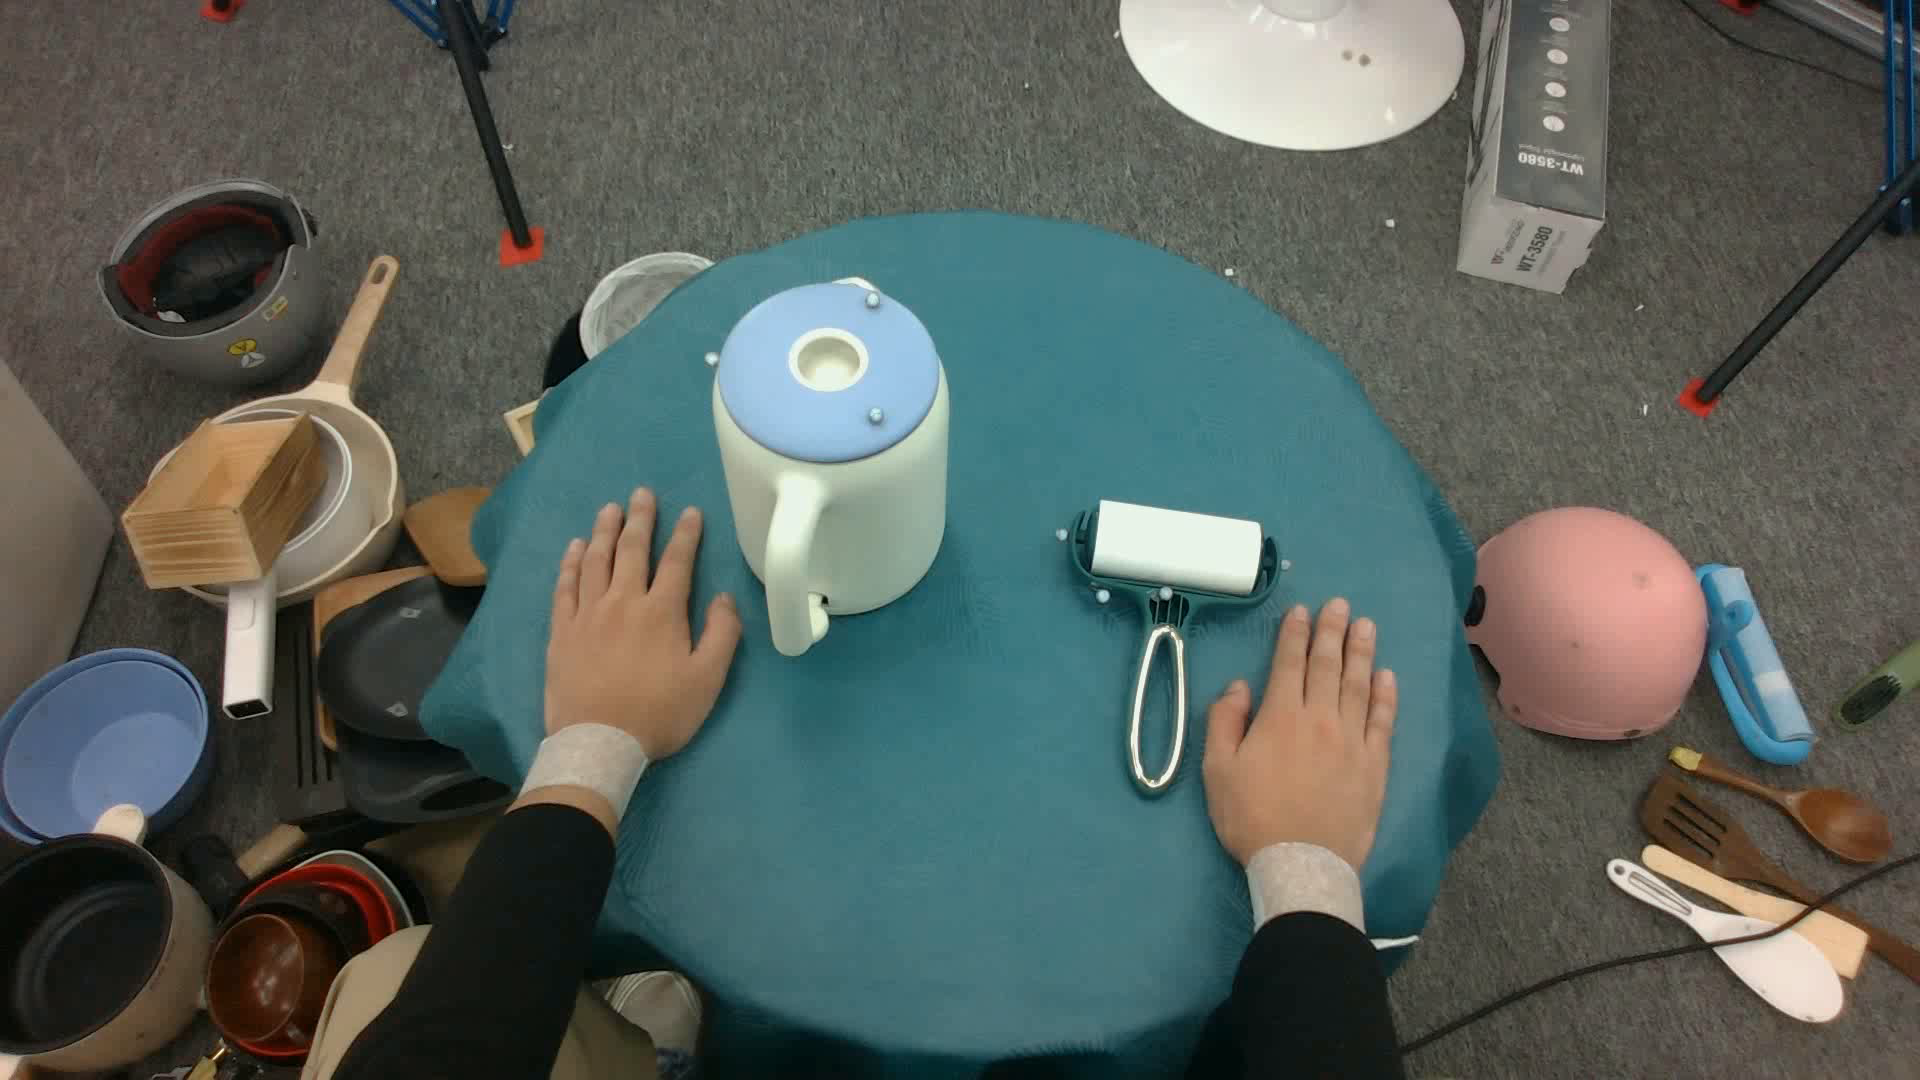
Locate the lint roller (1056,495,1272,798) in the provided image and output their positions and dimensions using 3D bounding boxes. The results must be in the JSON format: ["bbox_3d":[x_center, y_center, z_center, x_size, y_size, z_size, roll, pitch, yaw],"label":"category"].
[{"bbox_3d":[0.116,0.060,0.821,0.134,0.048,0.181,8,62,2],"label":"lint roller"}]

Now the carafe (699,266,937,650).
[{"bbox_3d":[-0.084,-0.034,0.791,0.132,0.182,0.192,9,61,3],"label":"carafe"}]
